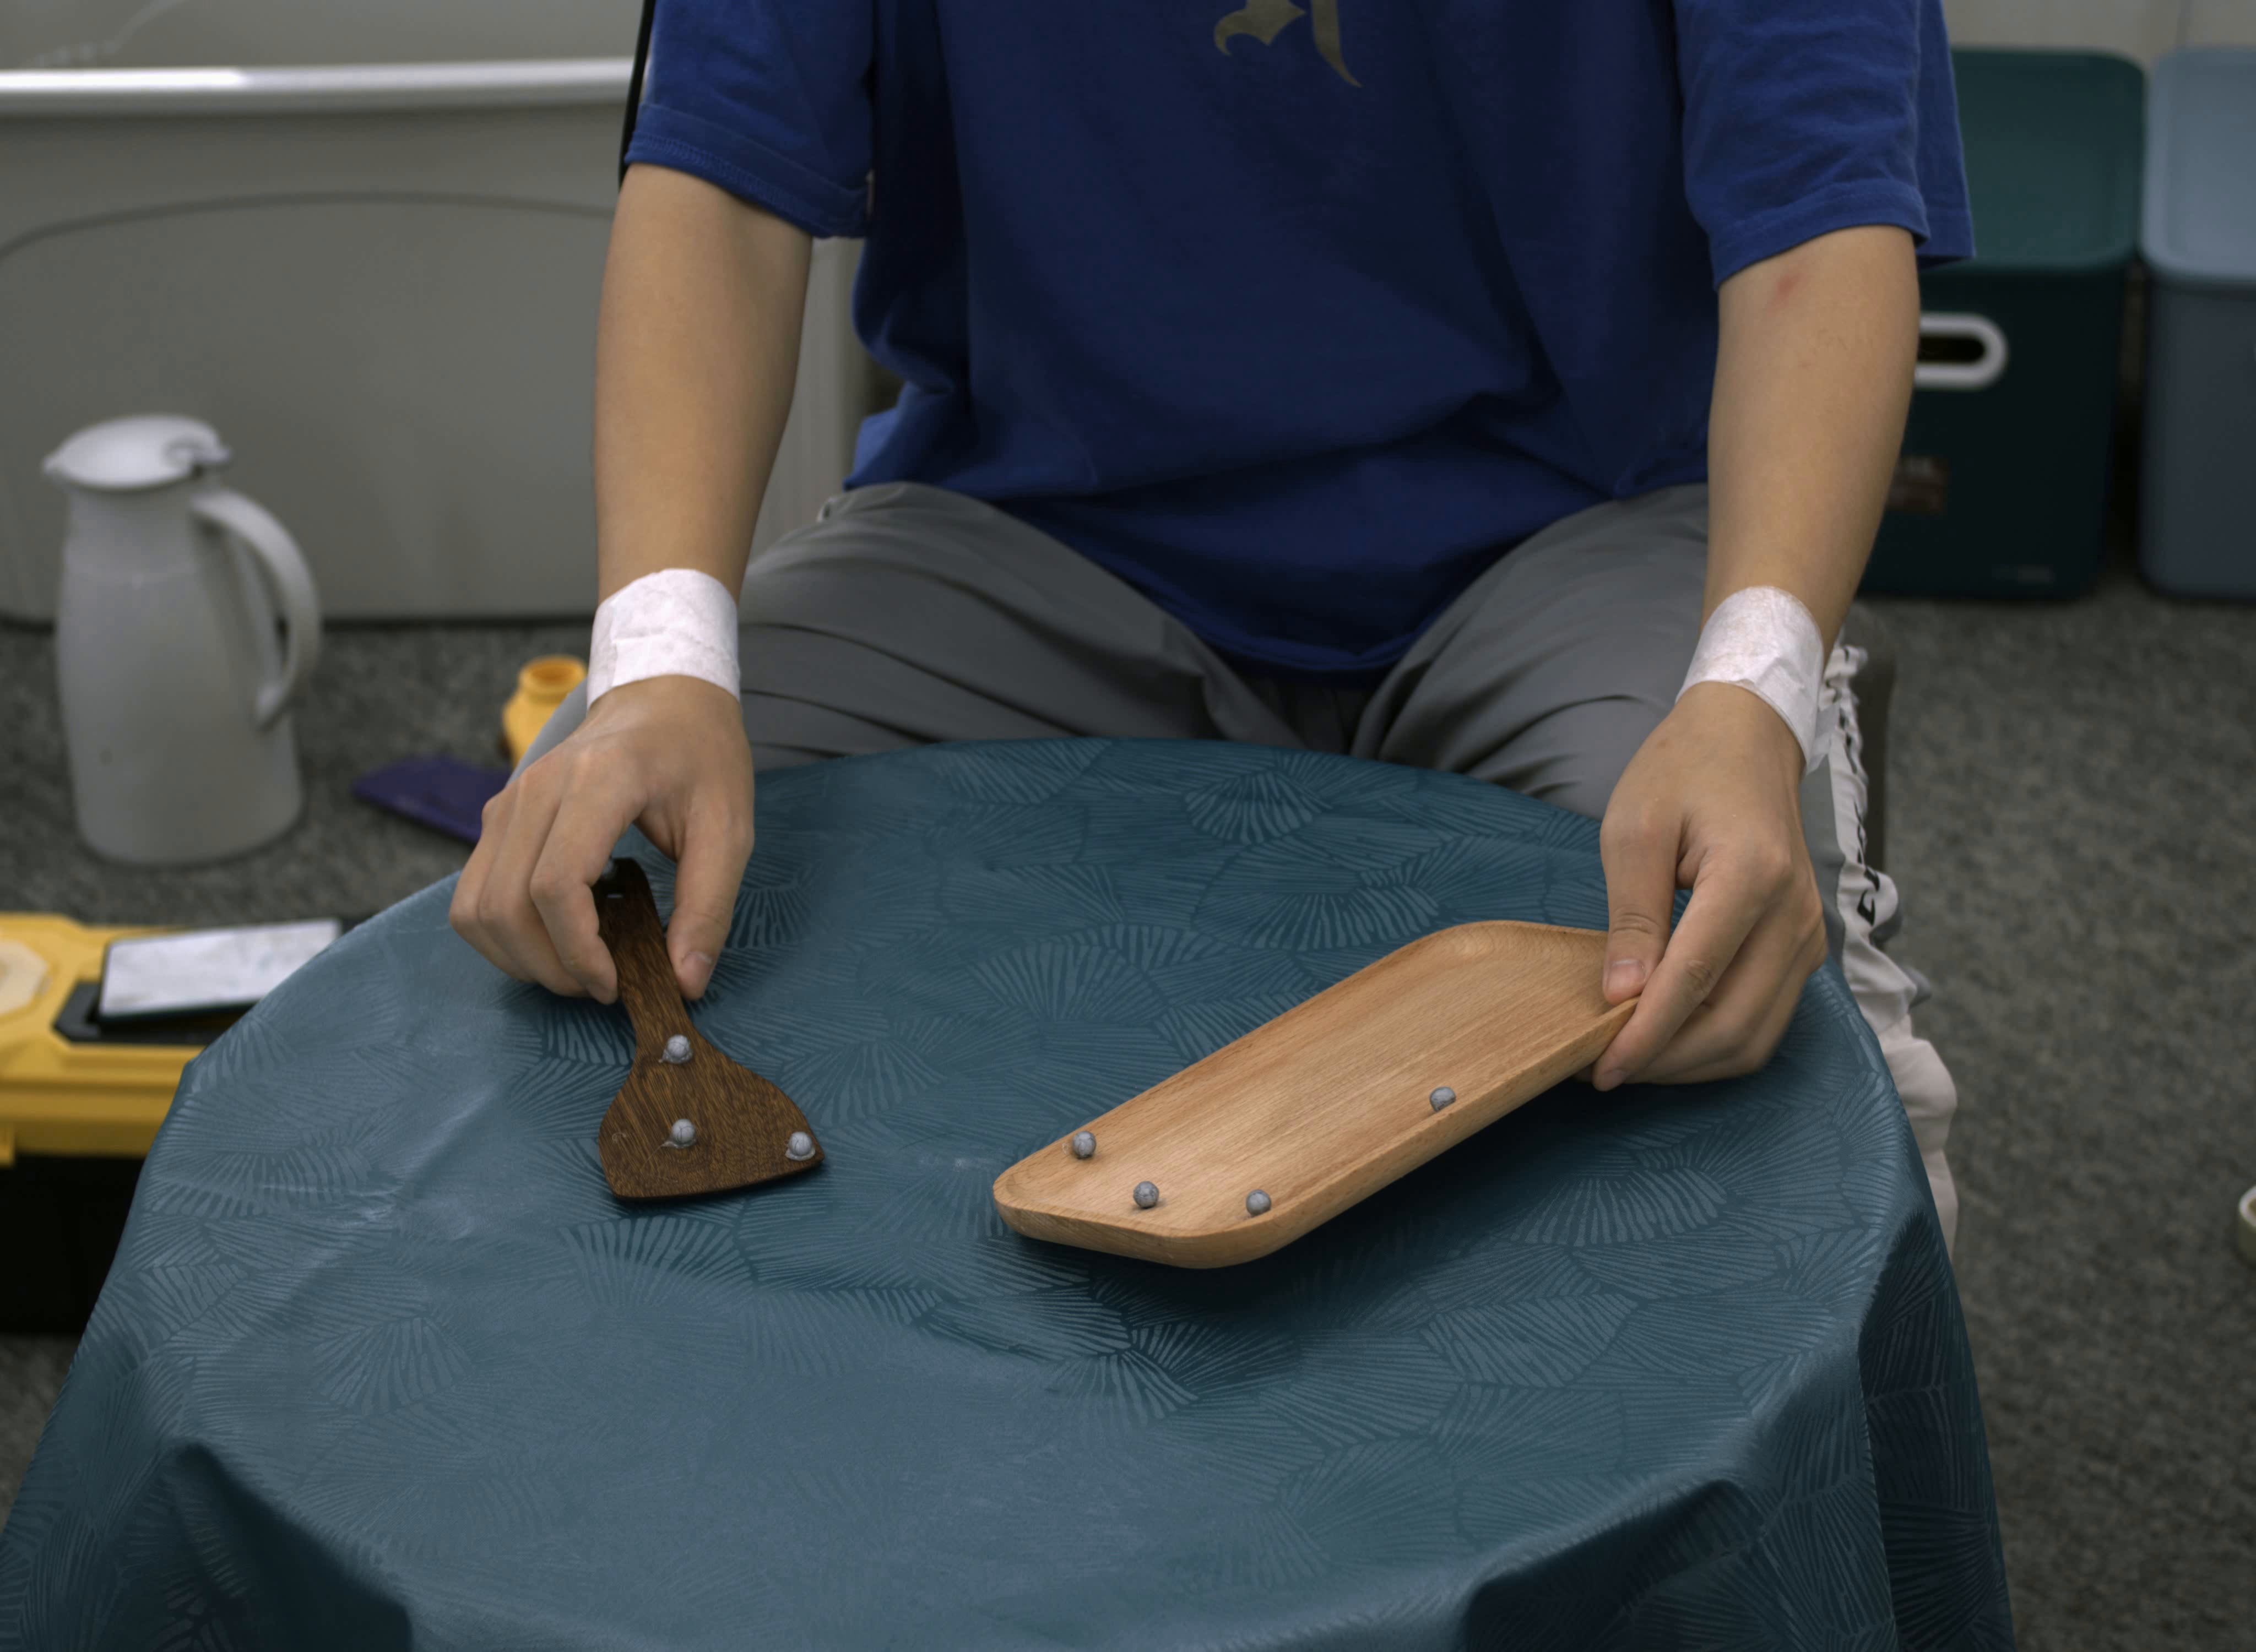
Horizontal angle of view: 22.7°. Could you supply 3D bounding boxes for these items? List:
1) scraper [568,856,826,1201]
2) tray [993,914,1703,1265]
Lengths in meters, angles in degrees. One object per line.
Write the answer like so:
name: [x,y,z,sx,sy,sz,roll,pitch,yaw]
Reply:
scraper: [-0.162,0.069,1.953,0.076,0.010,0.214,-8,33,-13]
tray: [0.076,0.086,1.873,0.253,0.023,0.130,-26,23,-38]
